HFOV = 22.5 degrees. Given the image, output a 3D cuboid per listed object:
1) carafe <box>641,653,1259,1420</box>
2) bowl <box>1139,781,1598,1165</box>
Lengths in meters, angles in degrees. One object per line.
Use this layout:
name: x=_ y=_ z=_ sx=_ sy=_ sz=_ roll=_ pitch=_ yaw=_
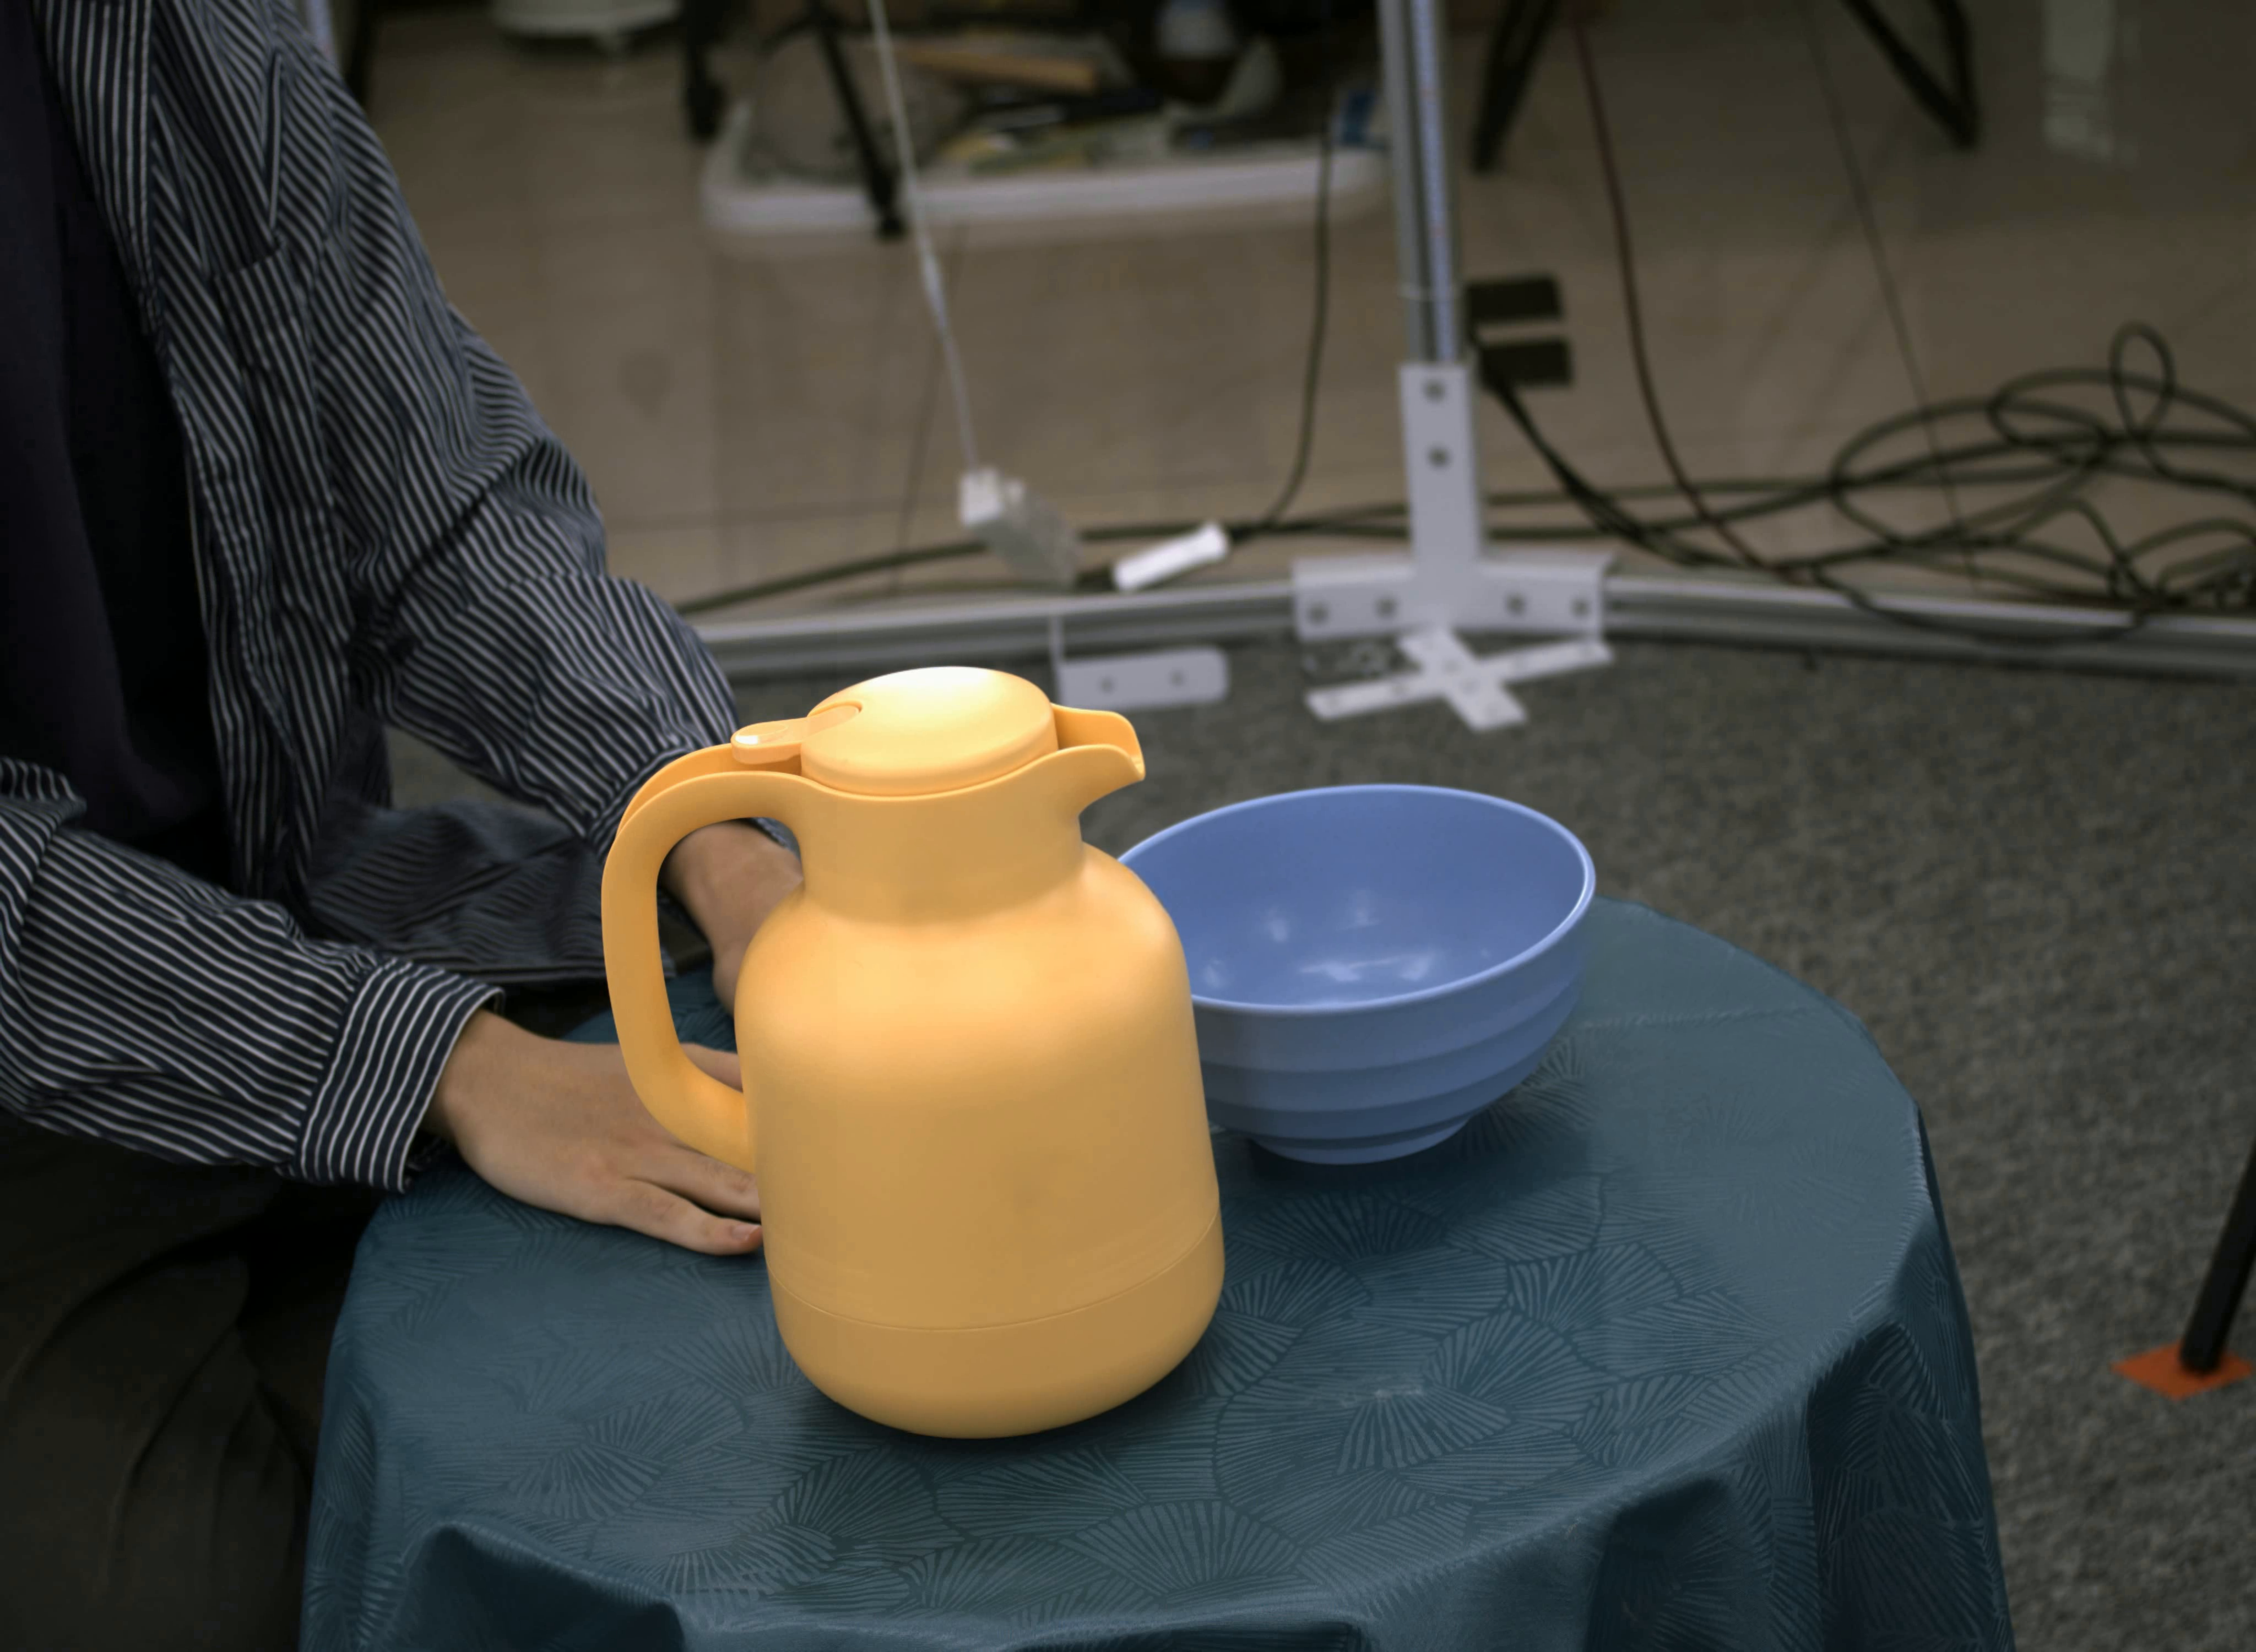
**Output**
carafe: x=-0.063 y=0.071 z=2.002 sx=0.202 sy=0.265 sz=0.161 roll=-4 pitch=26 yaw=5
bowl: x=0.084 y=0.067 z=2.171 sx=0.196 sy=0.097 sz=0.193 roll=-5 pitch=26 yaw=2
